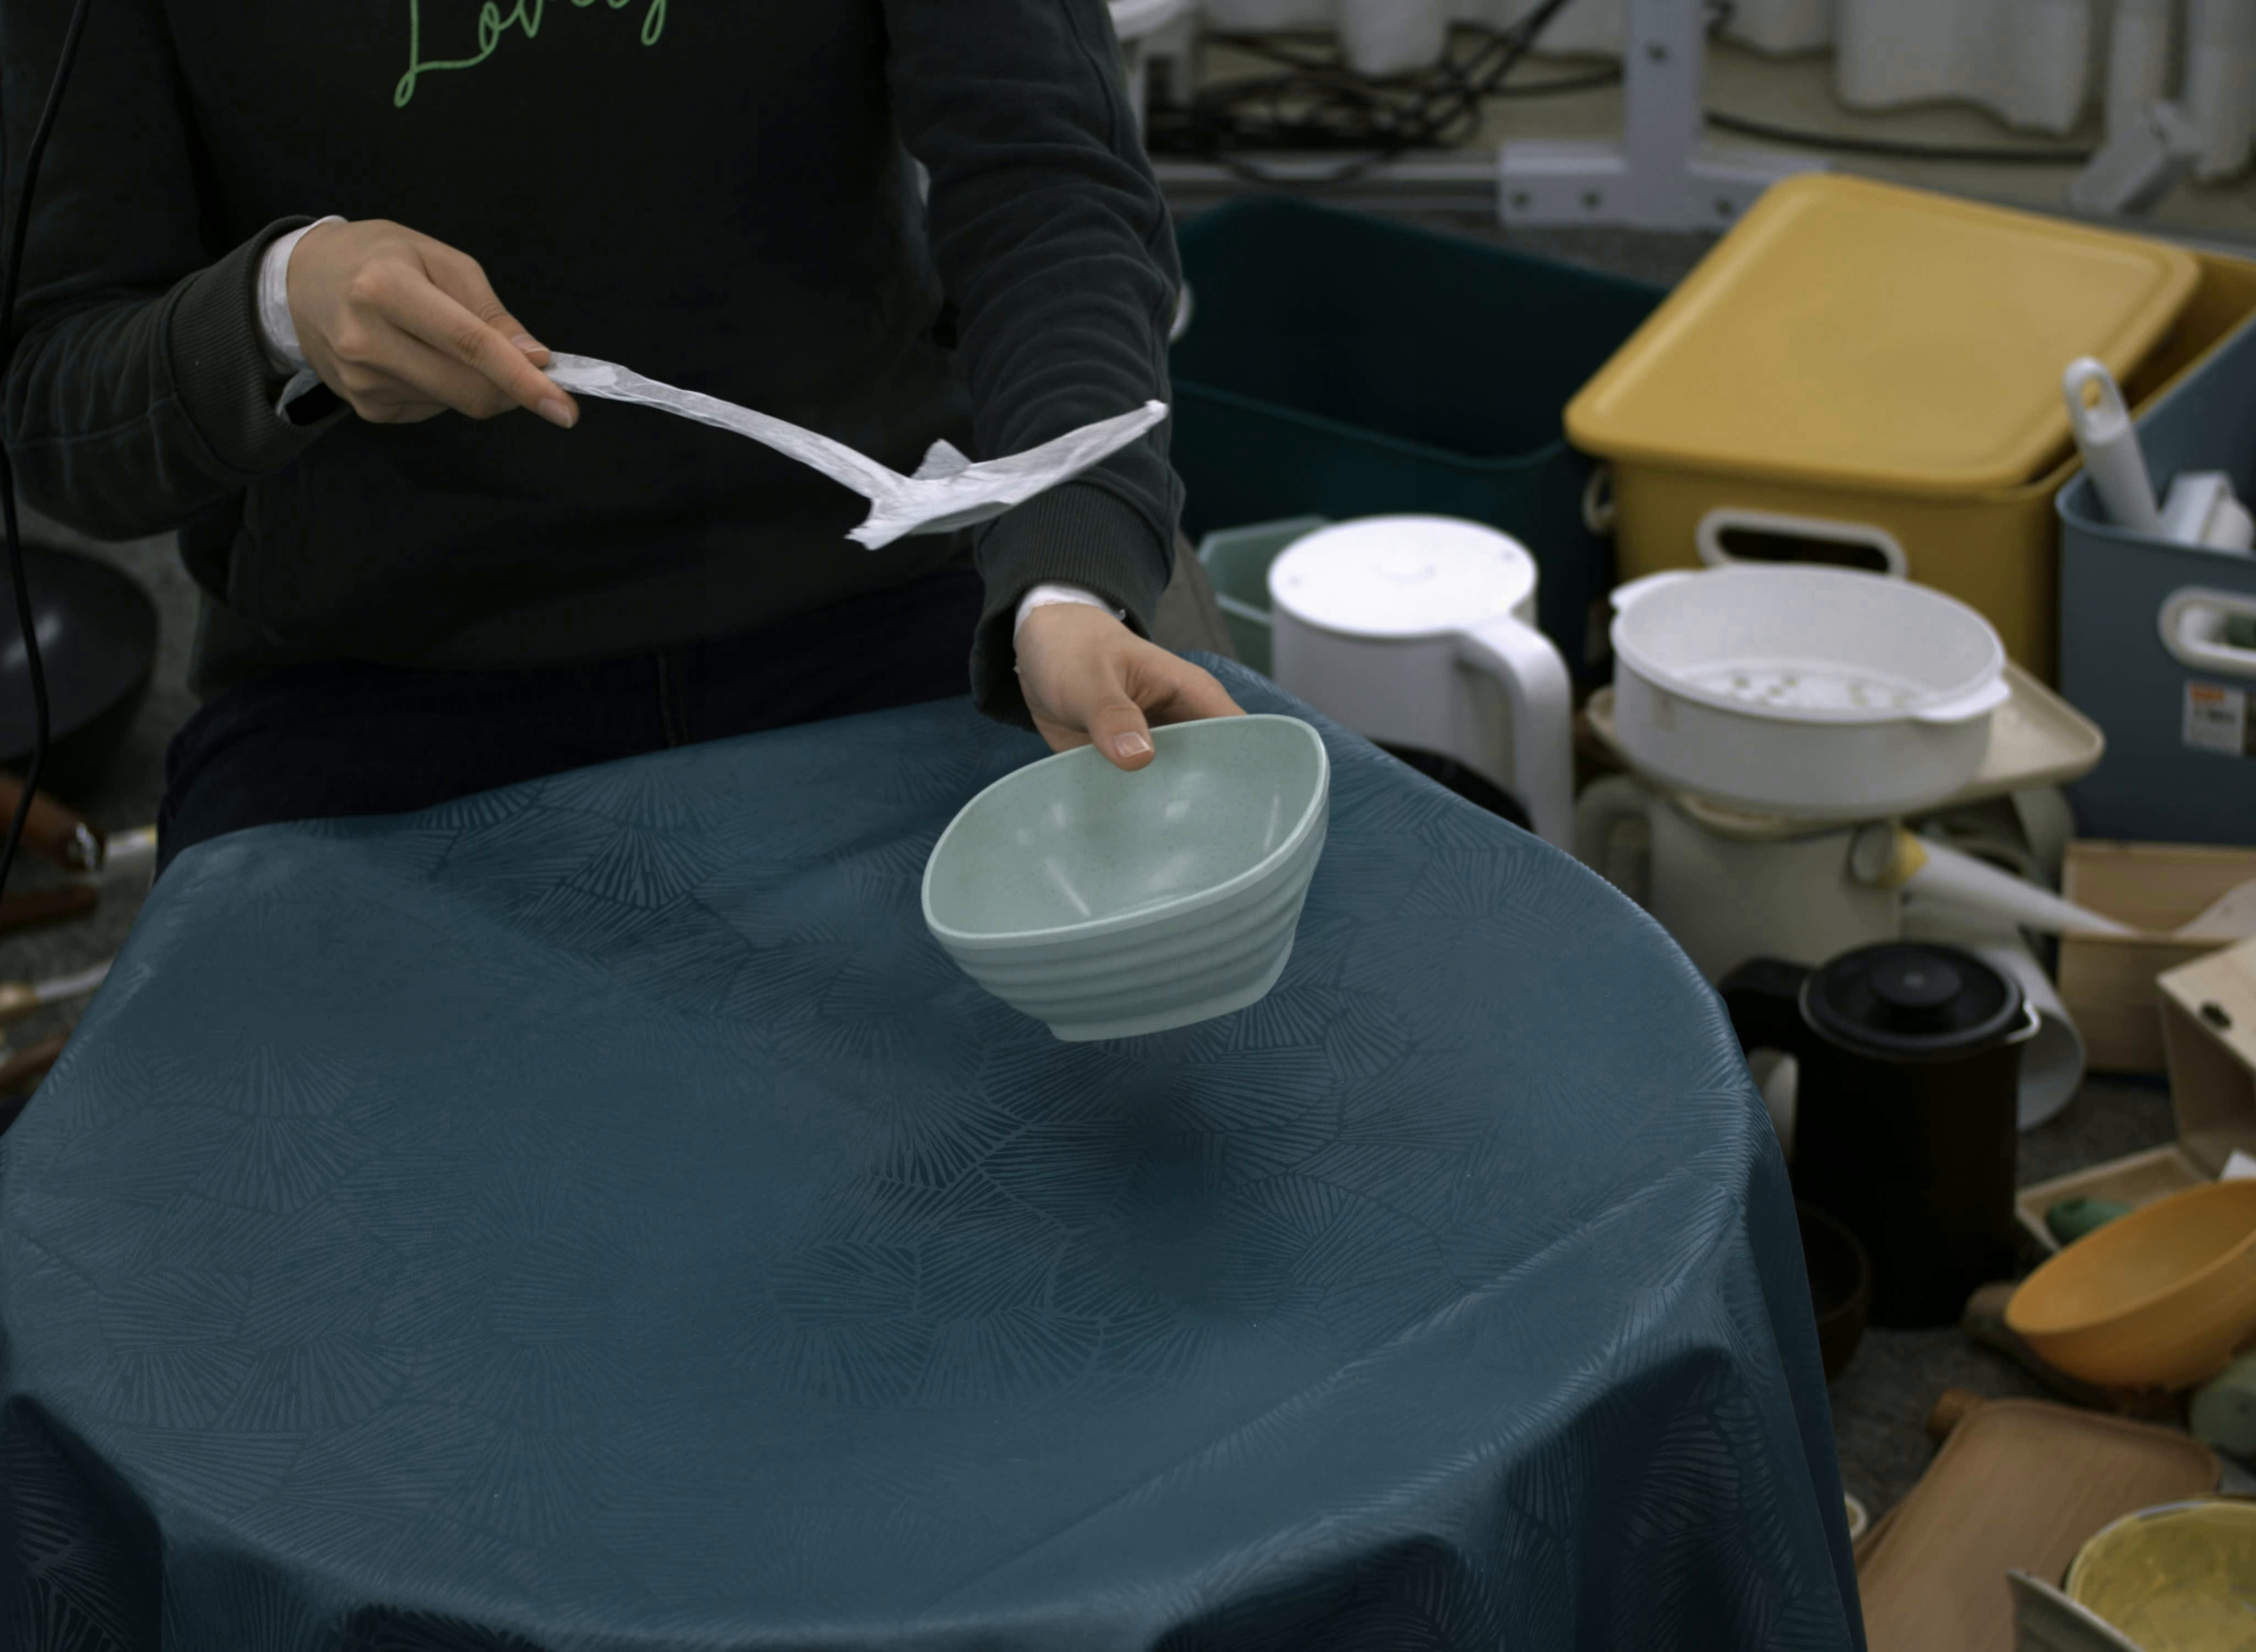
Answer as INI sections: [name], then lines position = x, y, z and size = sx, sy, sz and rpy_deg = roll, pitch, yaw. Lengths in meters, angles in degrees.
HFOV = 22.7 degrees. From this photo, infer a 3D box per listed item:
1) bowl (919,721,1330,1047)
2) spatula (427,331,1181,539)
[bowl]
position = 0.005, 0.025, 1.859
size = 0.150, 0.058, 0.154
rpy_deg = -13, 26, 7
[spatula]
position = -0.131, -0.144, 1.913
size = 0.363, 0.044, 0.100
rpy_deg = 18, 38, 41
